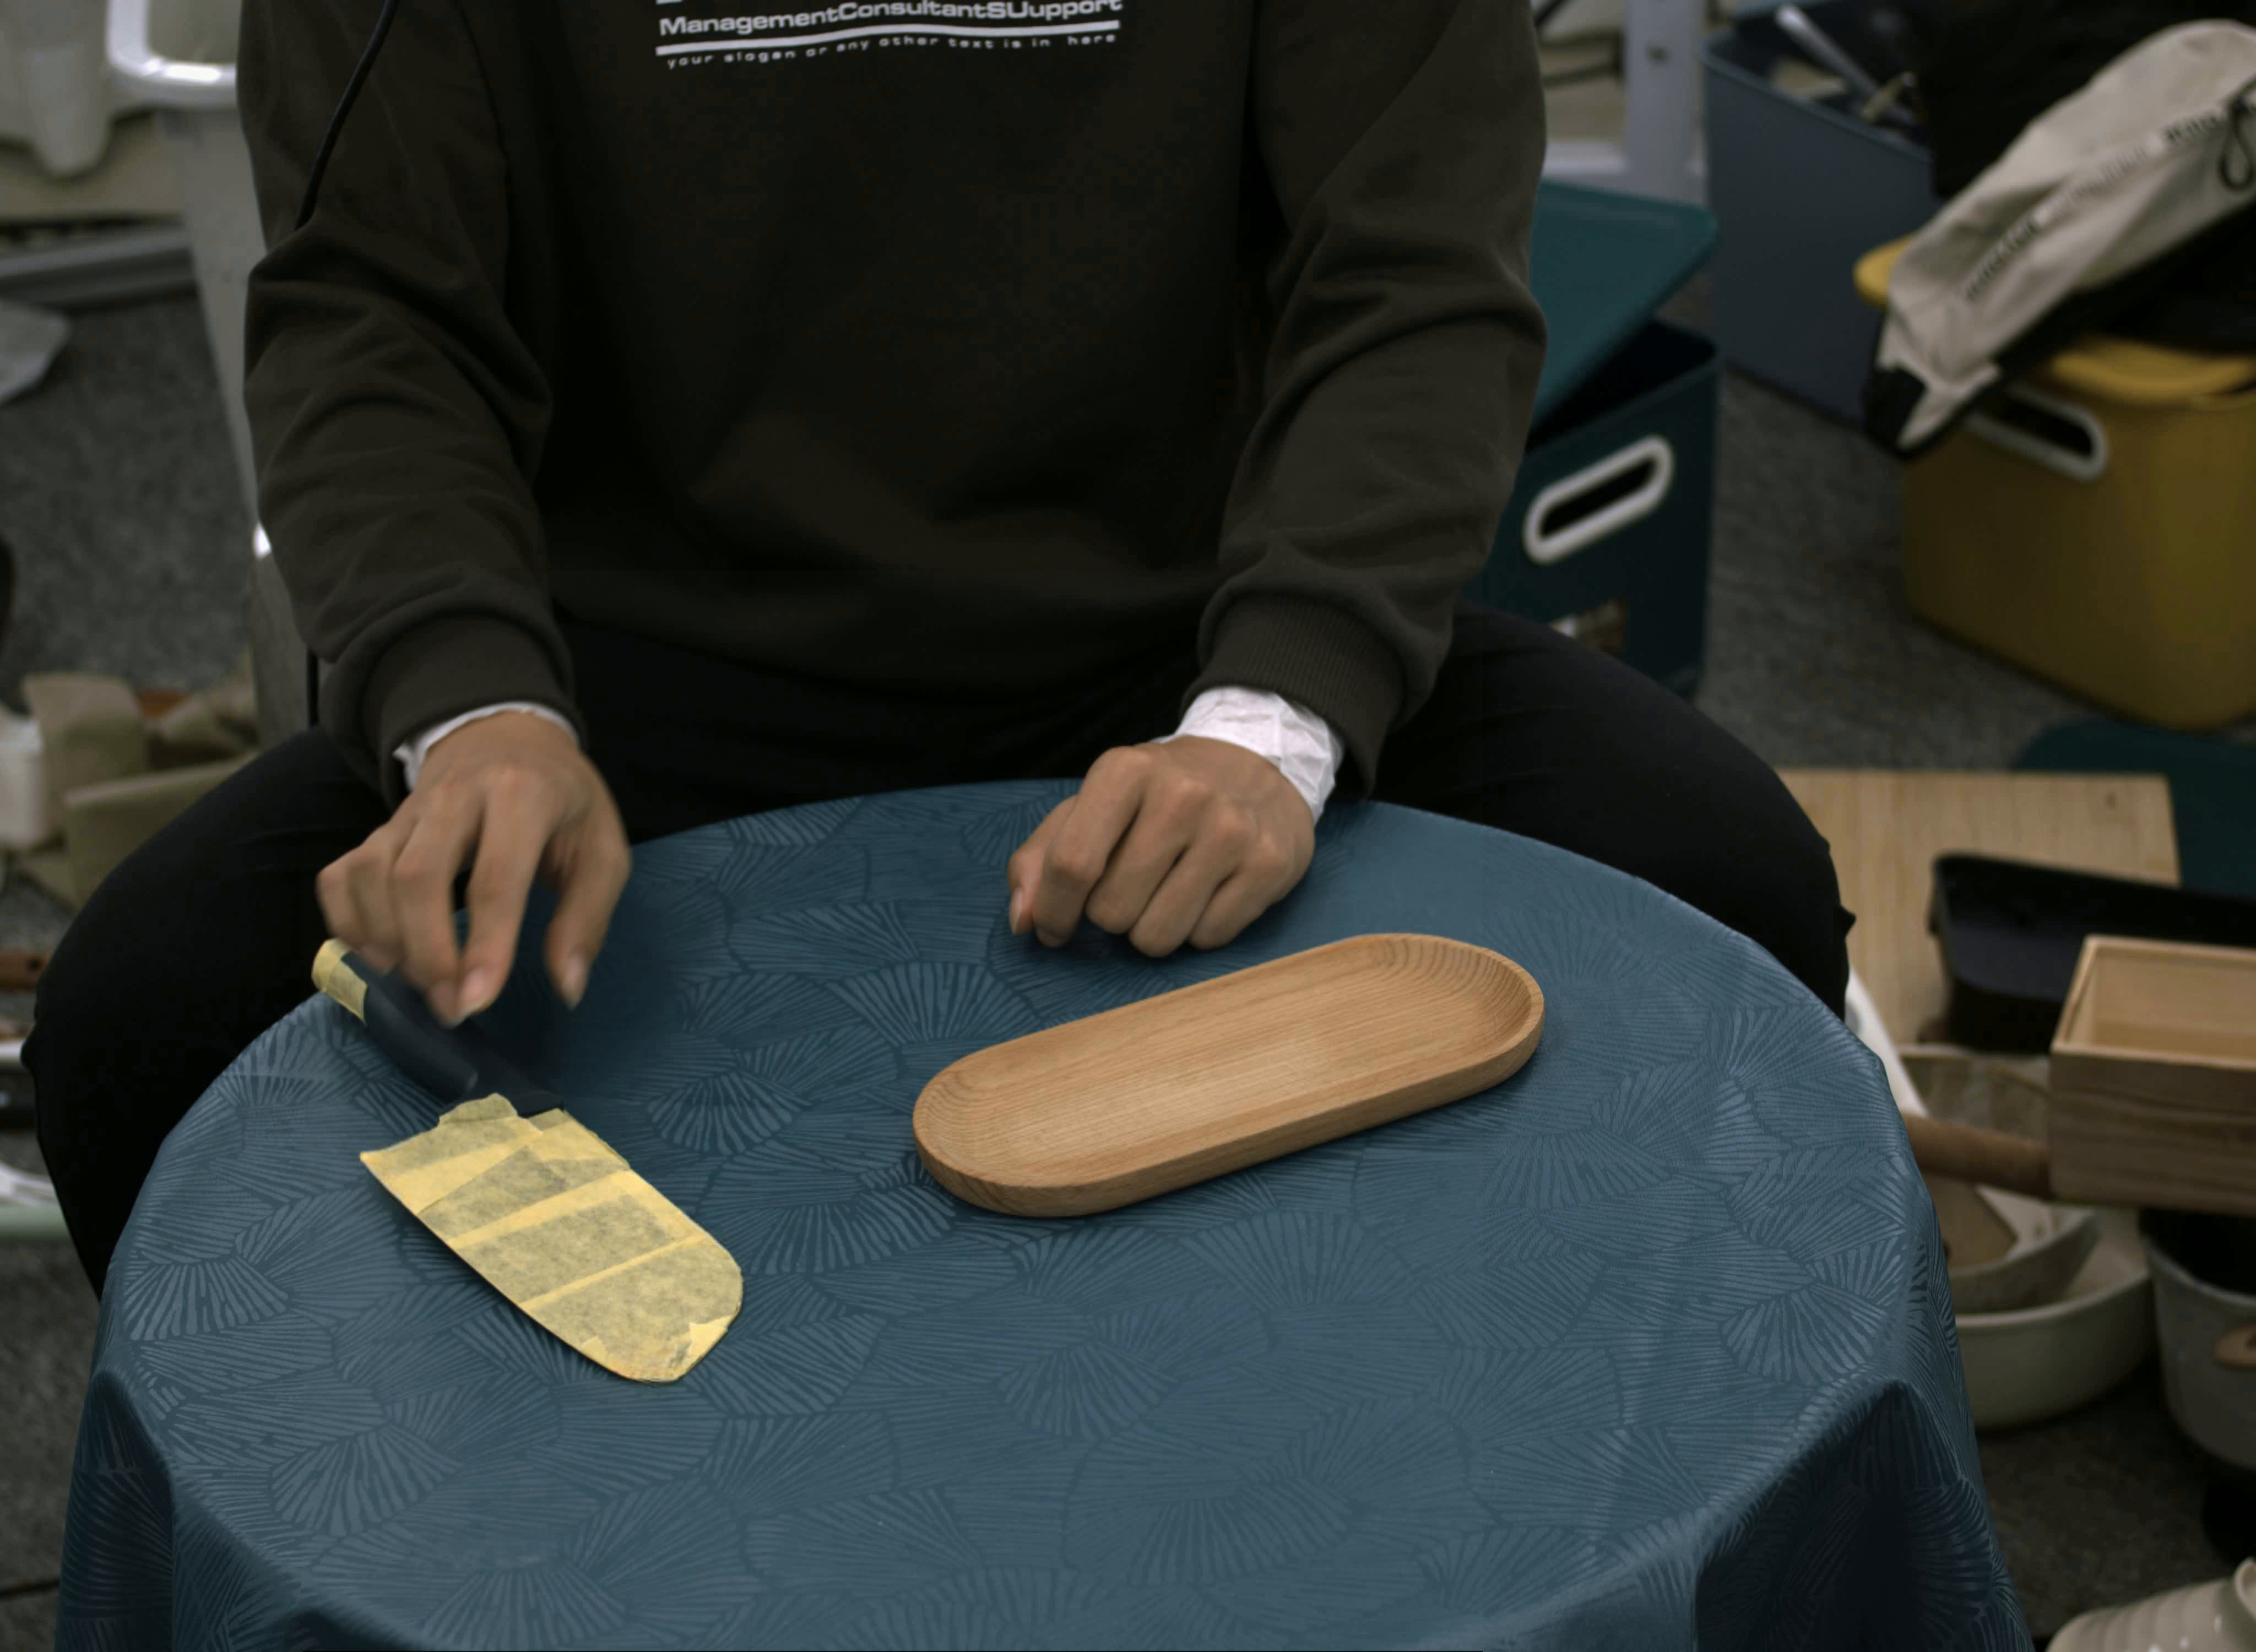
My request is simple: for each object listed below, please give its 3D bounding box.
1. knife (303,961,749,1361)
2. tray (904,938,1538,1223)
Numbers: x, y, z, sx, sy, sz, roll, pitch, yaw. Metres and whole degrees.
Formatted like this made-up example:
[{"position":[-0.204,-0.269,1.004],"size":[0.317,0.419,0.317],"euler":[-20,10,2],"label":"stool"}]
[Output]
[{"position":[-0.214,0.113,1.882],"size":[0.081,0.027,0.290],"euler":[-15,31,-30],"label":"knife"},{"position":[0.033,0.086,1.910],"size":[0.232,0.020,0.102],"euler":[-17,29,-24],"label":"tray"}]
